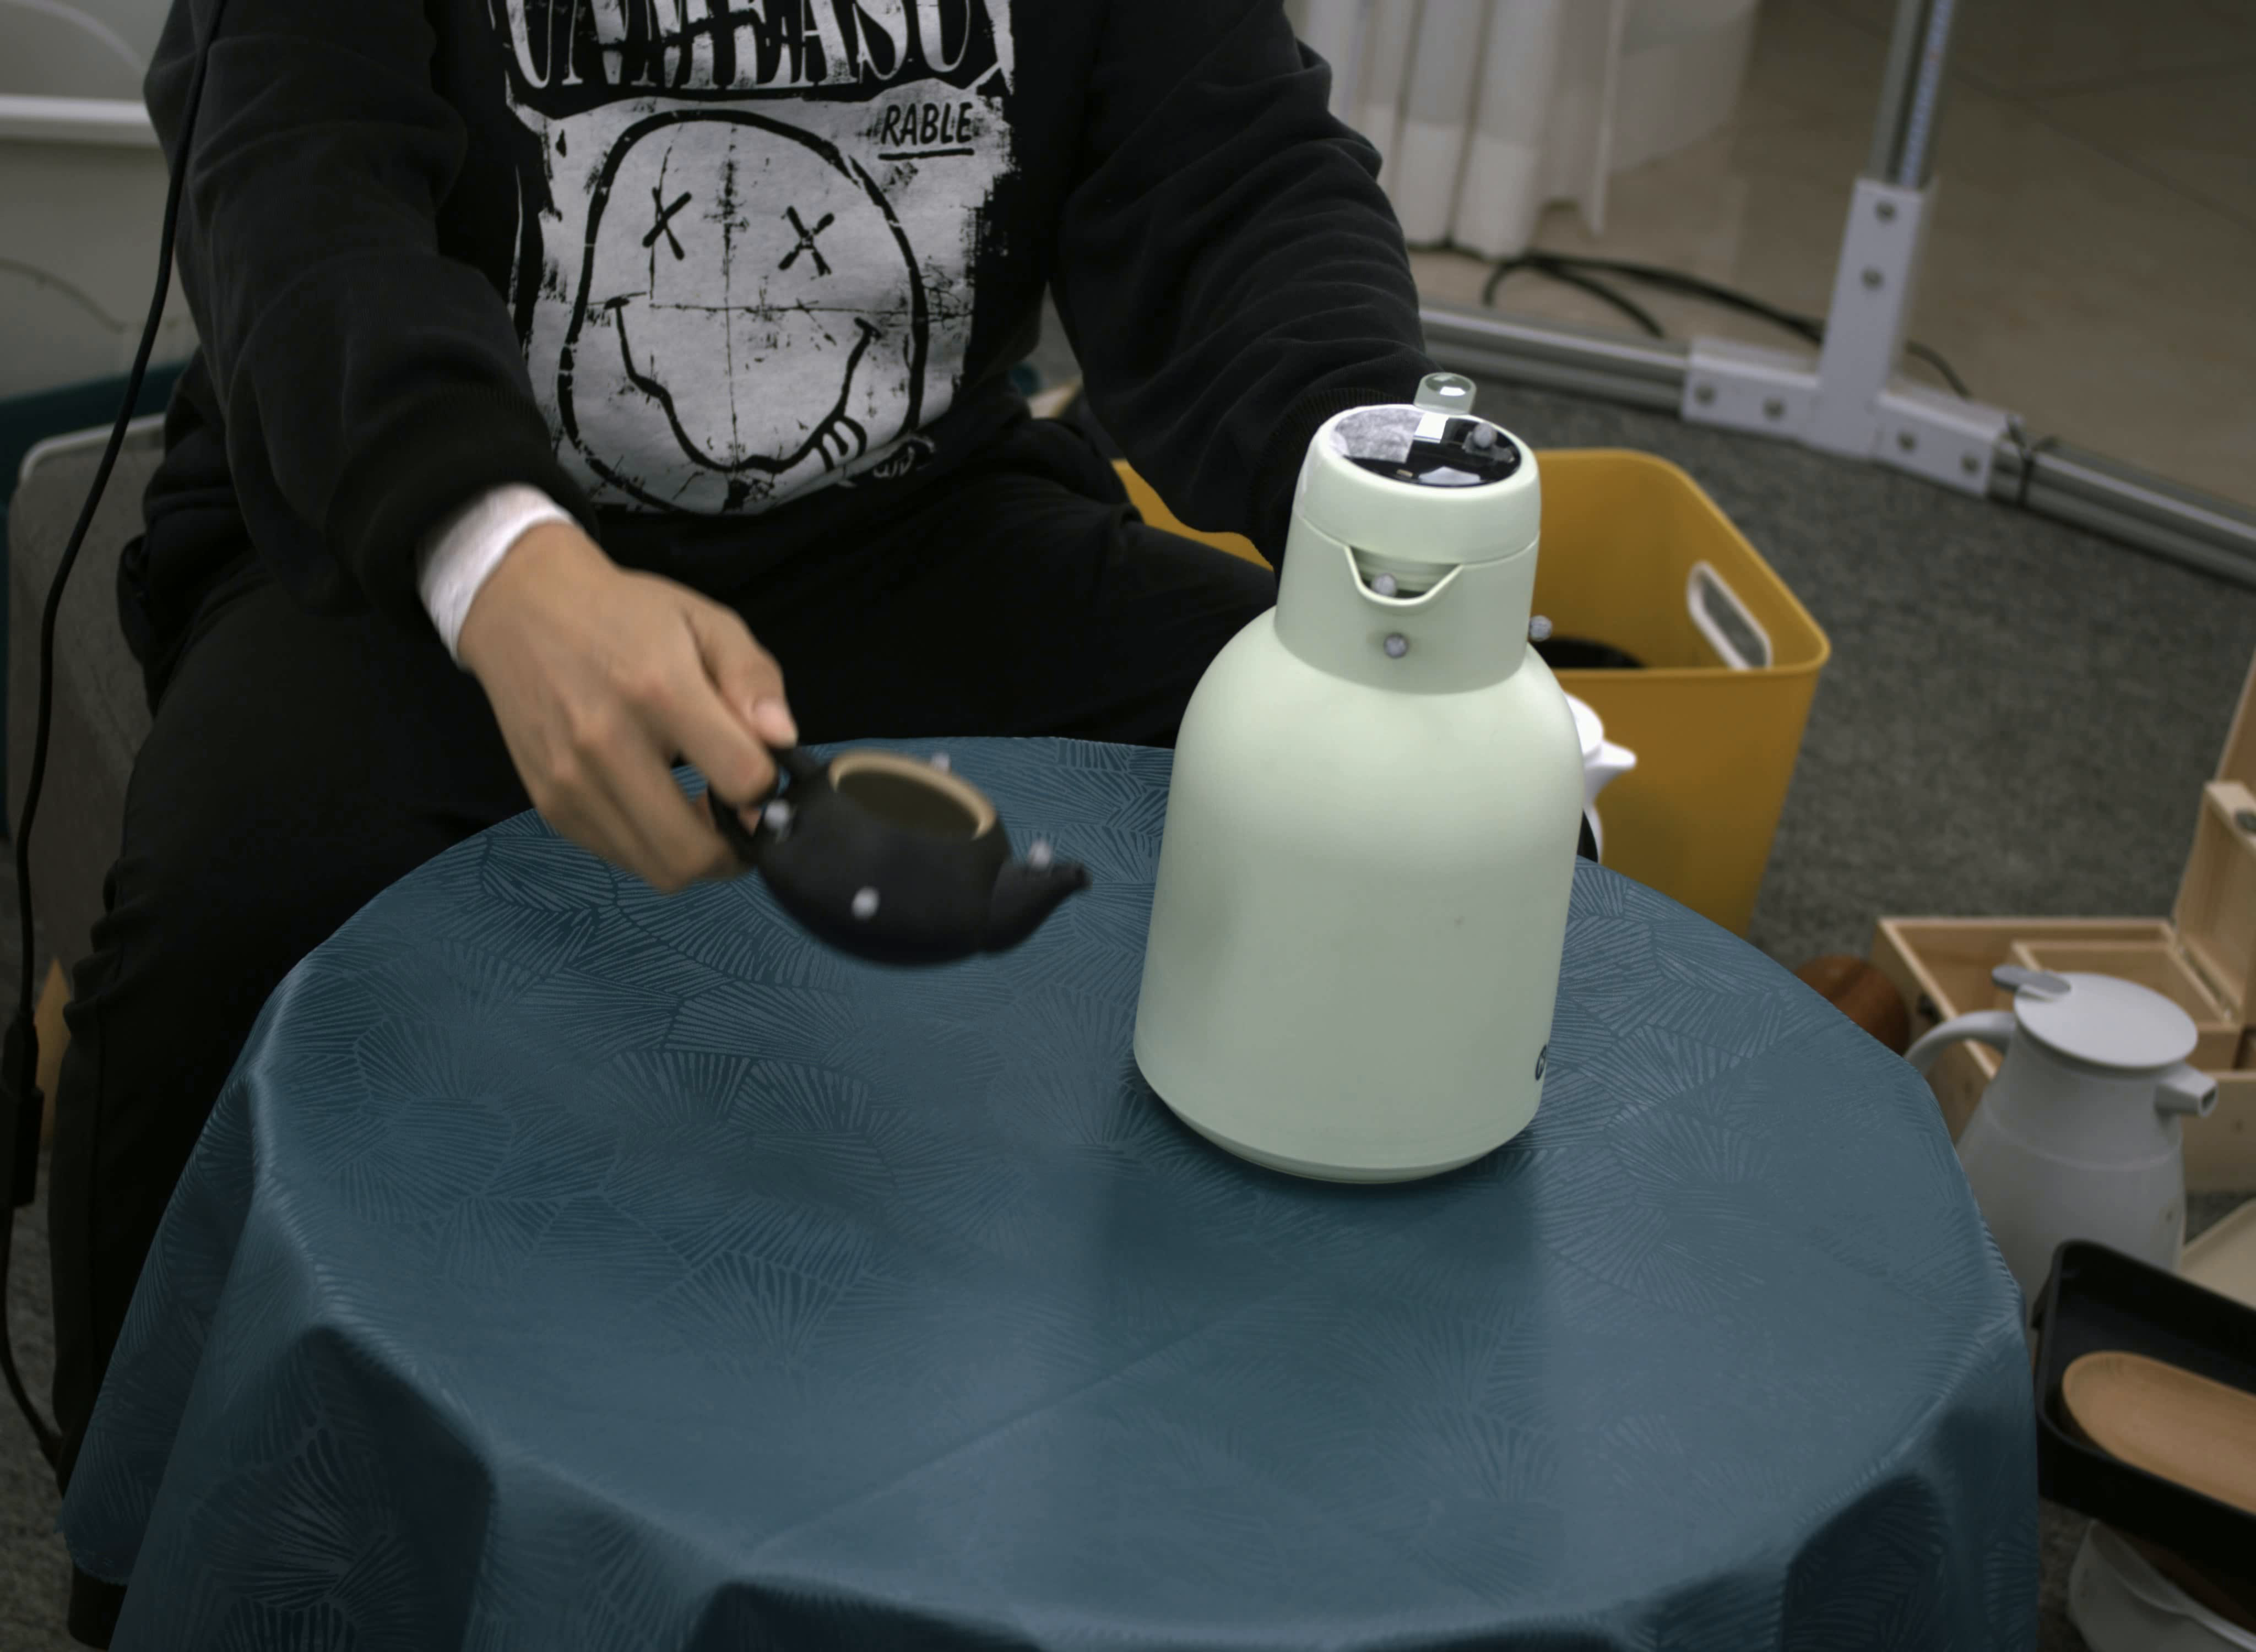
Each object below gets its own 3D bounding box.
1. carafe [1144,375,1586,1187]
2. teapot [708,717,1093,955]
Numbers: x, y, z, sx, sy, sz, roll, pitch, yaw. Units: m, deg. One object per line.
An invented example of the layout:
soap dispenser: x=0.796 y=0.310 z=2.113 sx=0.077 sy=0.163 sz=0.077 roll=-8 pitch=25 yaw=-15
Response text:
carafe: x=0.088 y=-0.021 z=1.834 sx=0.144 sy=0.256 sz=0.187 roll=8 pitch=23 yaw=6
teapot: x=-0.080 y=0.007 z=1.764 sx=0.133 sy=0.053 sz=0.091 roll=23 pitch=20 yaw=6
